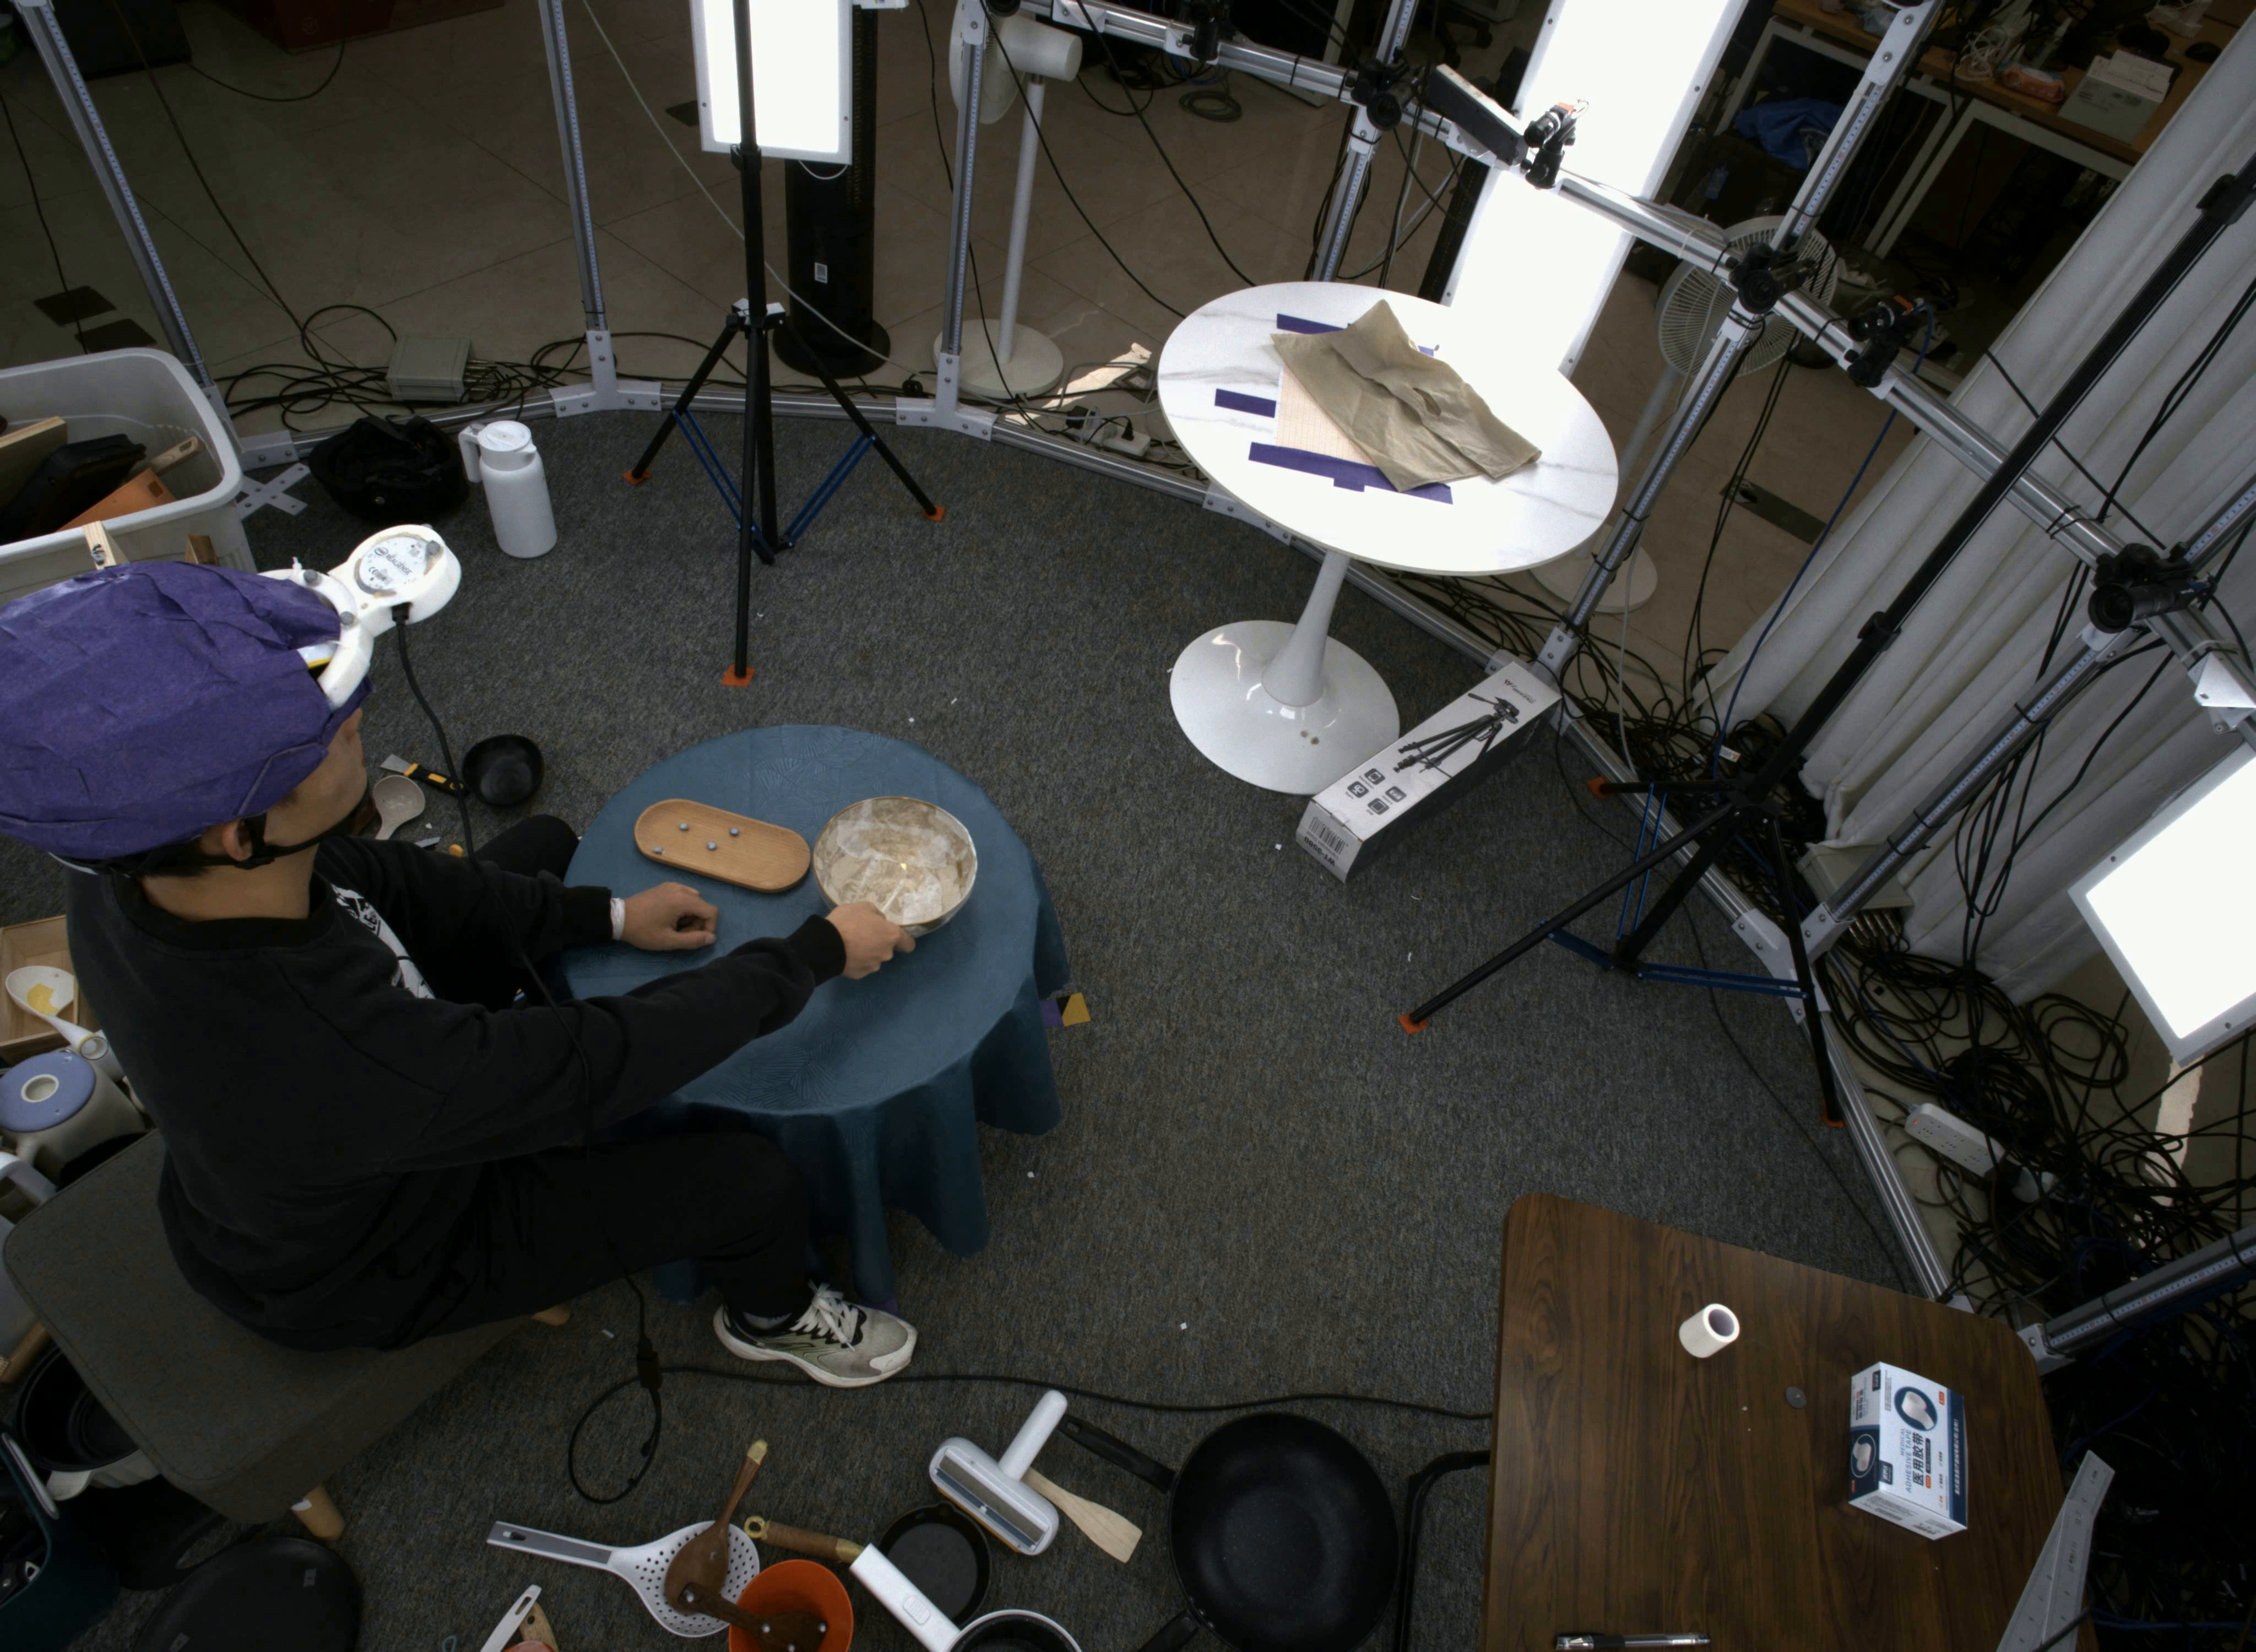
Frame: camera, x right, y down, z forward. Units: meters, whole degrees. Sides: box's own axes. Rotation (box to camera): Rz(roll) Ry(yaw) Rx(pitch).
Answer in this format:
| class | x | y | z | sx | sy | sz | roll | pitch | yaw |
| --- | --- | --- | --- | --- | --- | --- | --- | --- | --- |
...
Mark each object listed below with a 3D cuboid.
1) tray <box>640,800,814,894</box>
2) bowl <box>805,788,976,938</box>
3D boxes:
| class | x | y | z | sx | sy | sz | roll | pitch | yaw |
| --- | --- | --- | --- | --- | --- | --- | --- | --- | --- |
| tray | -0.520 | 0.026 | 1.675 | 0.230 | 0.020 | 0.100 | 16 | 54 | -5 |
| bowl | -0.302 | 0.062 | 1.654 | 0.214 | 0.096 | 0.211 | 8 | 53 | -9 |
